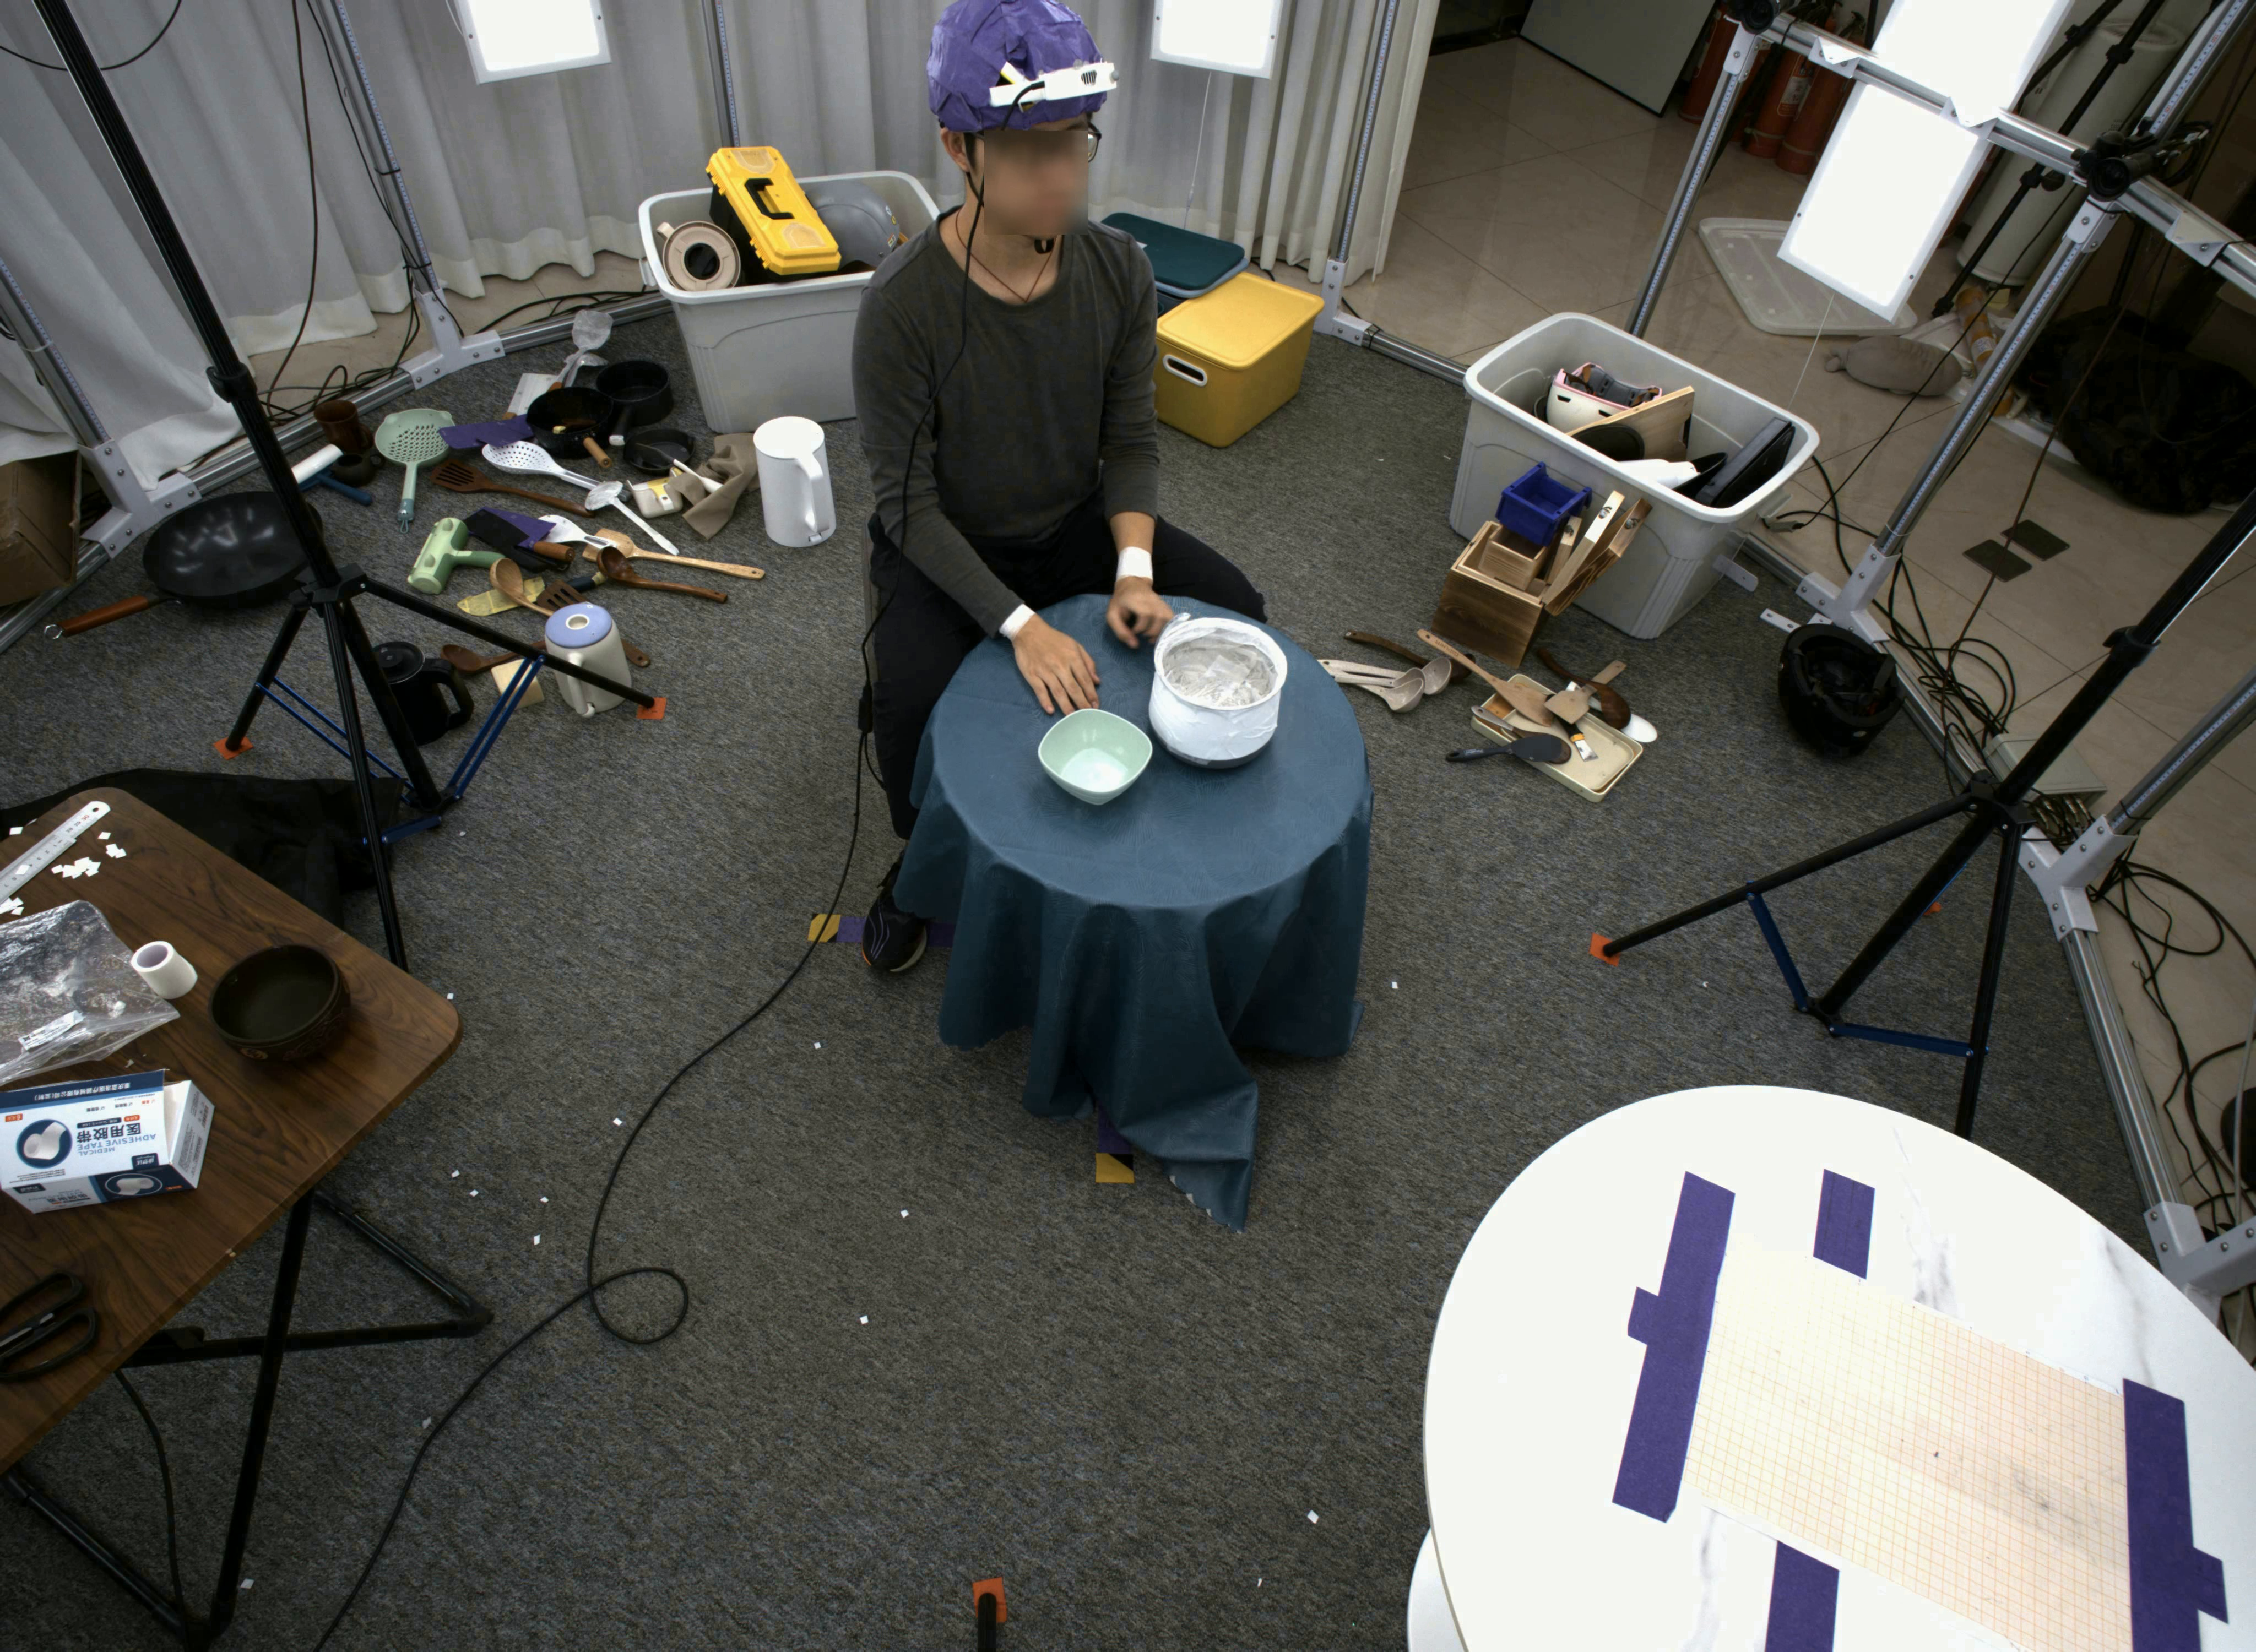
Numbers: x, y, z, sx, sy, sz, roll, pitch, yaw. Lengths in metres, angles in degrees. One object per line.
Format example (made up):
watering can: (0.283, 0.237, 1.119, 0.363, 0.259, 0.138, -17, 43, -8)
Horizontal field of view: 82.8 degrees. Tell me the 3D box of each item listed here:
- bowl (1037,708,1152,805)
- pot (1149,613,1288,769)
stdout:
bowl: (-0.046, -0.083, 1.700, 0.151, 0.057, 0.155, 2, 50, -3)
pot: (0.106, -0.195, 1.756, 0.179, 0.133, 0.239, -20, 53, -20)
